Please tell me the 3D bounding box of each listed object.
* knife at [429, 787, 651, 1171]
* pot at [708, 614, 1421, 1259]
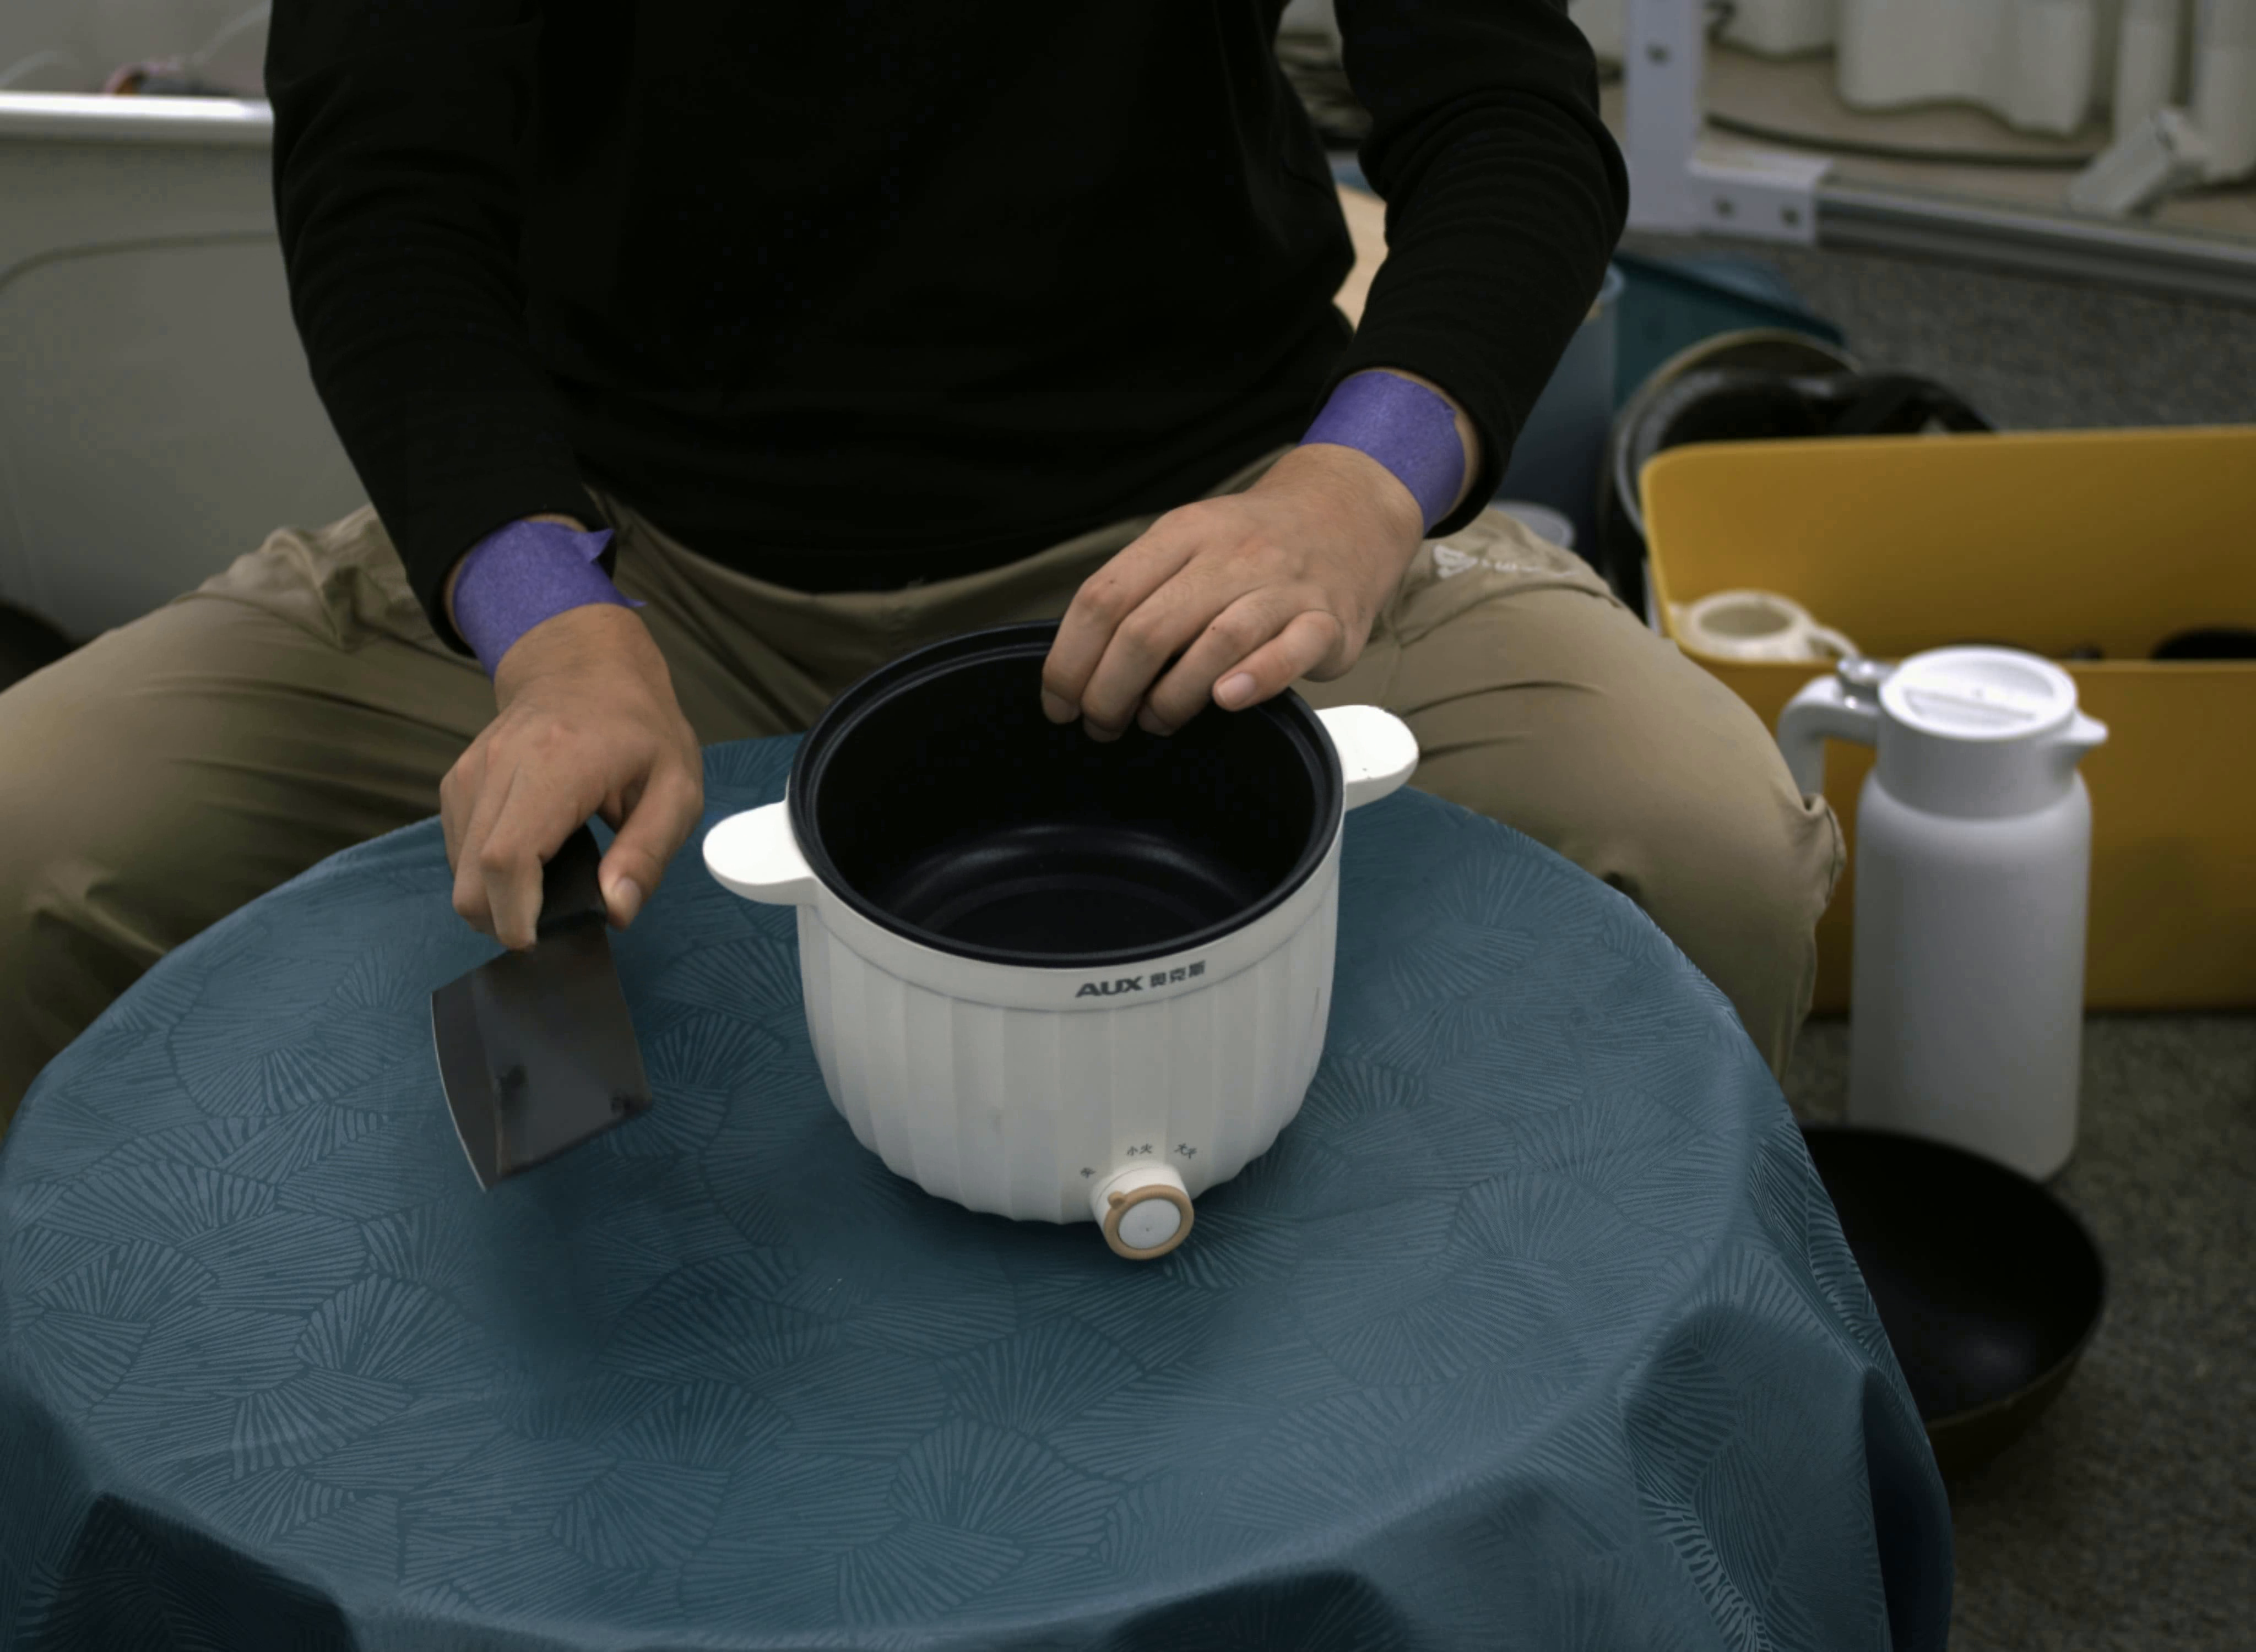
[{"bbox_3d":[-0.199,0.048,1.885,0.080,0.021,0.305,-26,21,3],"label":"knife"},{"bbox_3d":[-0.017,0.040,1.855,0.240,0.141,0.193,-11,35,-13],"label":"pot"}]
